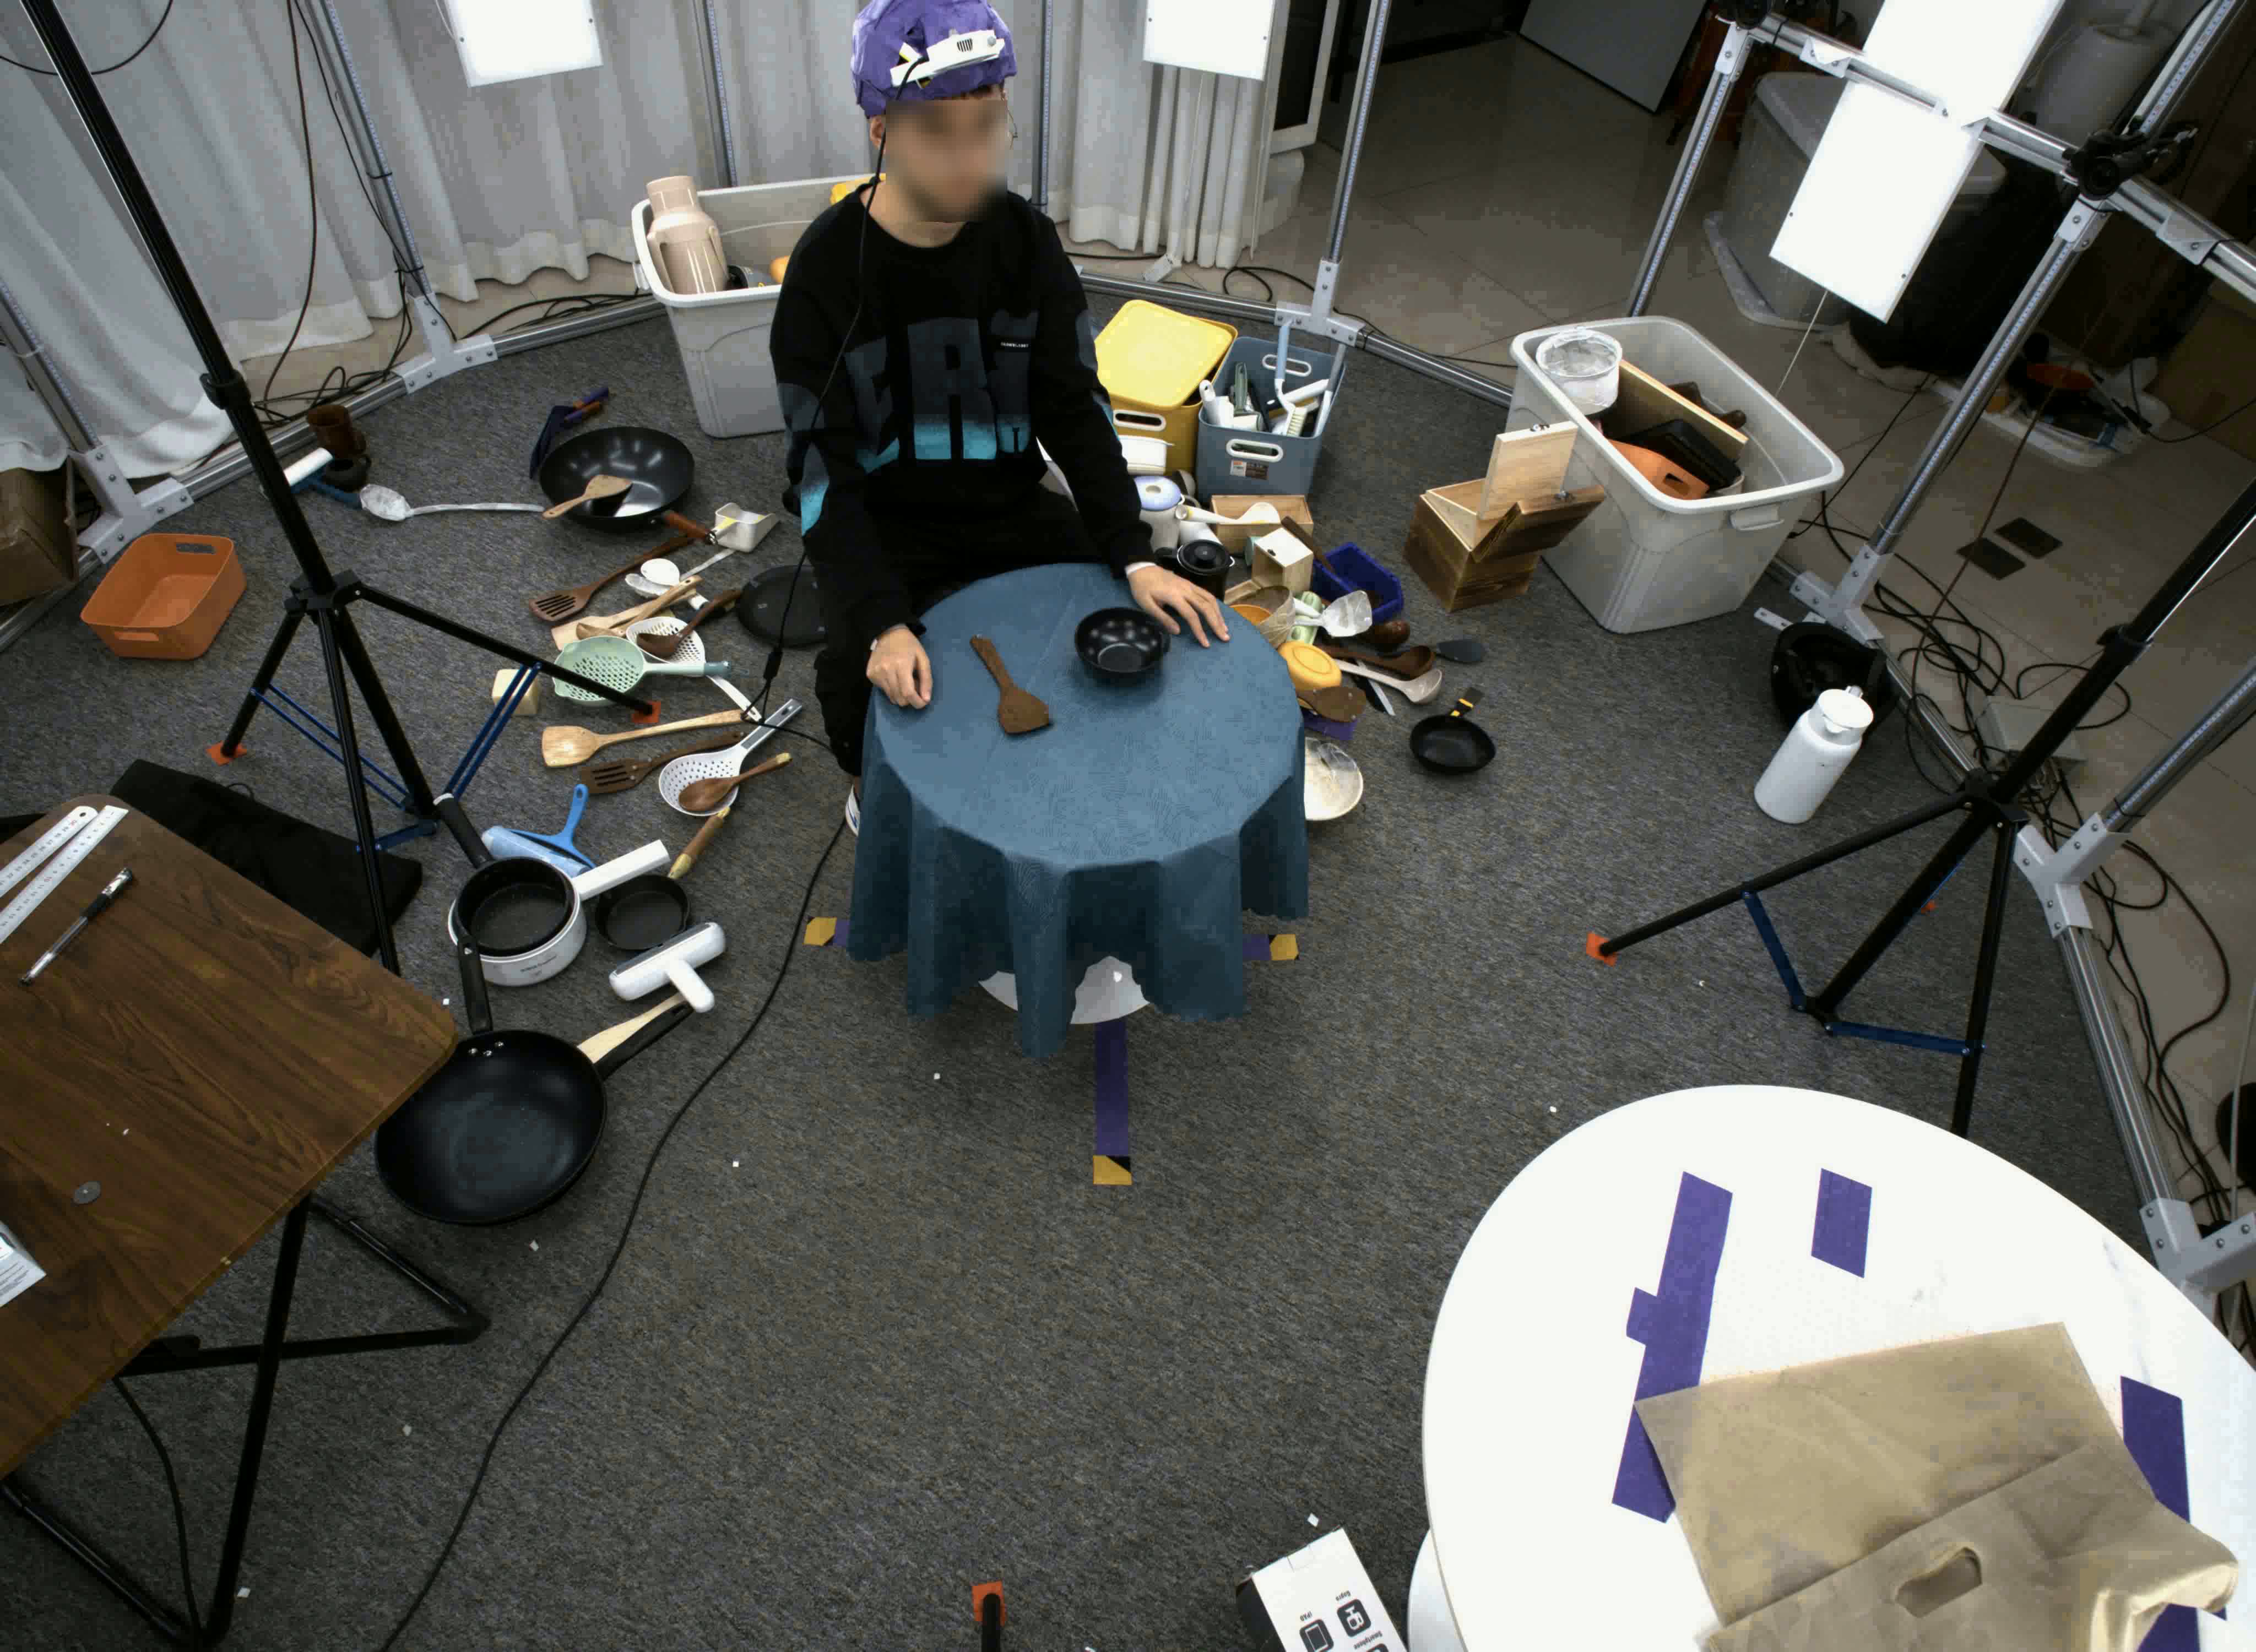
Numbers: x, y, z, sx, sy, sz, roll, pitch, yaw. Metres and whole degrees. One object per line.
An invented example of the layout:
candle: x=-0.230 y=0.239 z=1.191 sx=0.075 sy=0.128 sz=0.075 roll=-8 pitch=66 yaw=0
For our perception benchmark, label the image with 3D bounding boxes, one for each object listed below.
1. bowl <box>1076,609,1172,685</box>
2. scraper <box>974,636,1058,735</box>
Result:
bowl: x=-0.006 y=-0.252 z=1.873 sx=0.140 sy=0.048 sz=0.143 roll=0 pitch=50 yaw=0
scraper: x=-0.173 y=-0.205 z=1.846 sx=0.076 sy=0.010 sz=0.216 roll=-17 pitch=51 yaw=-19
